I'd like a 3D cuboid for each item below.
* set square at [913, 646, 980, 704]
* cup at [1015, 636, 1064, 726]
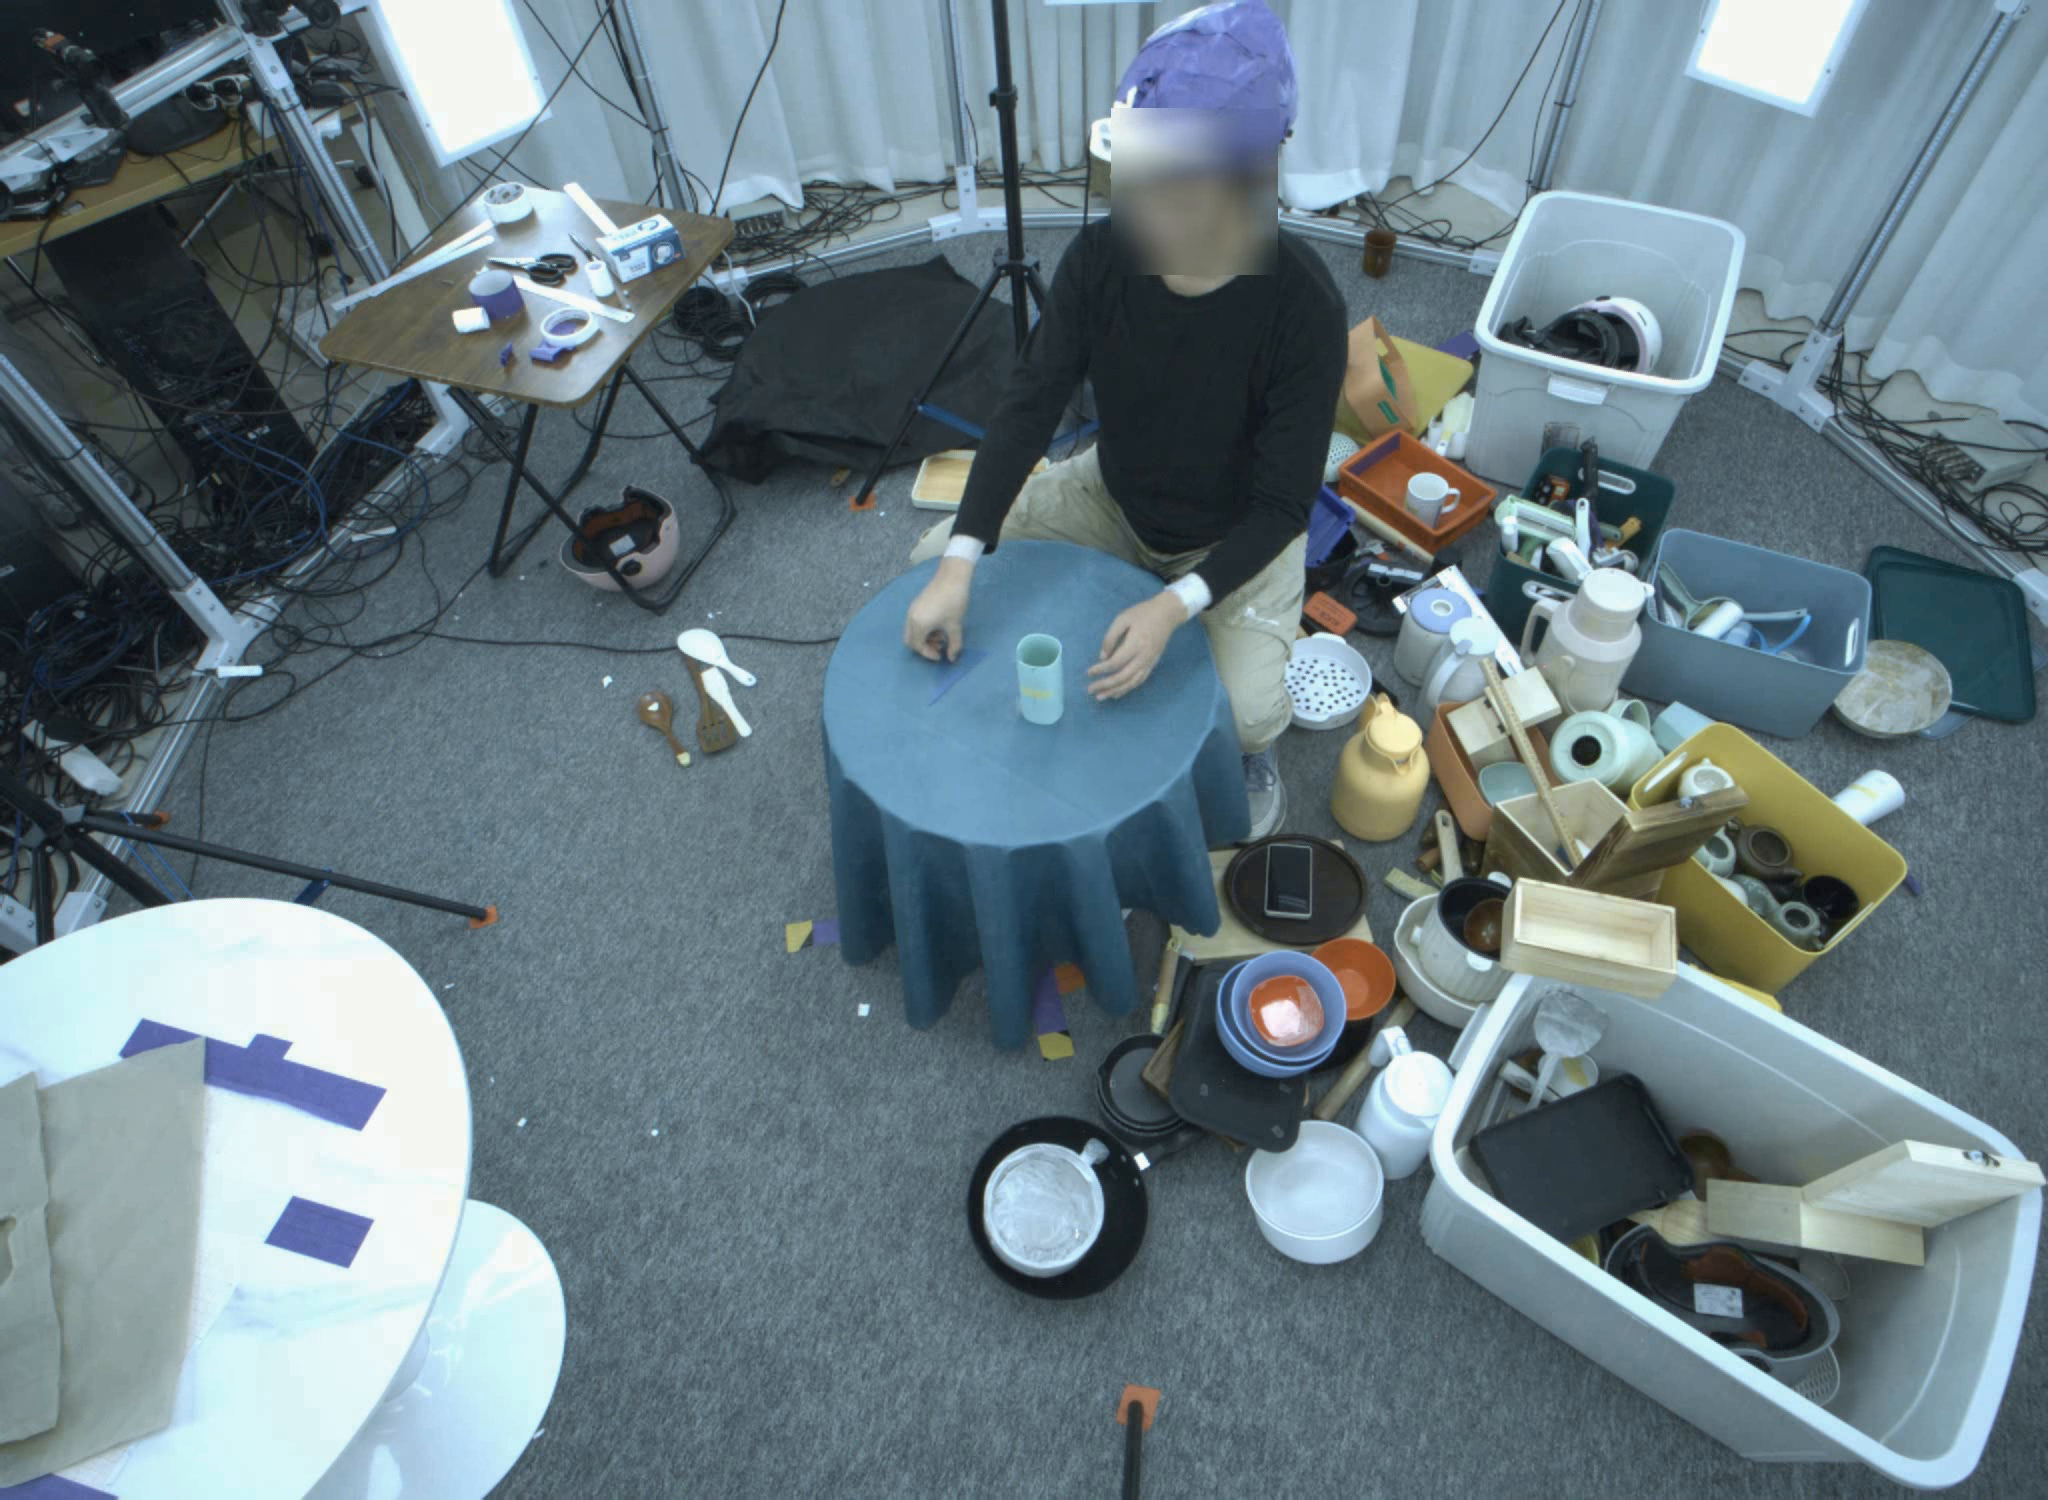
[{"bbox_3d":[-0.134,-0.123,1.876,0.060,0.006,0.133,39,66,24],"label":"set square"},{"bbox_3d":[0.025,-0.100,1.782,0.066,0.134,0.066,-2,55,3],"label":"cup"}]
